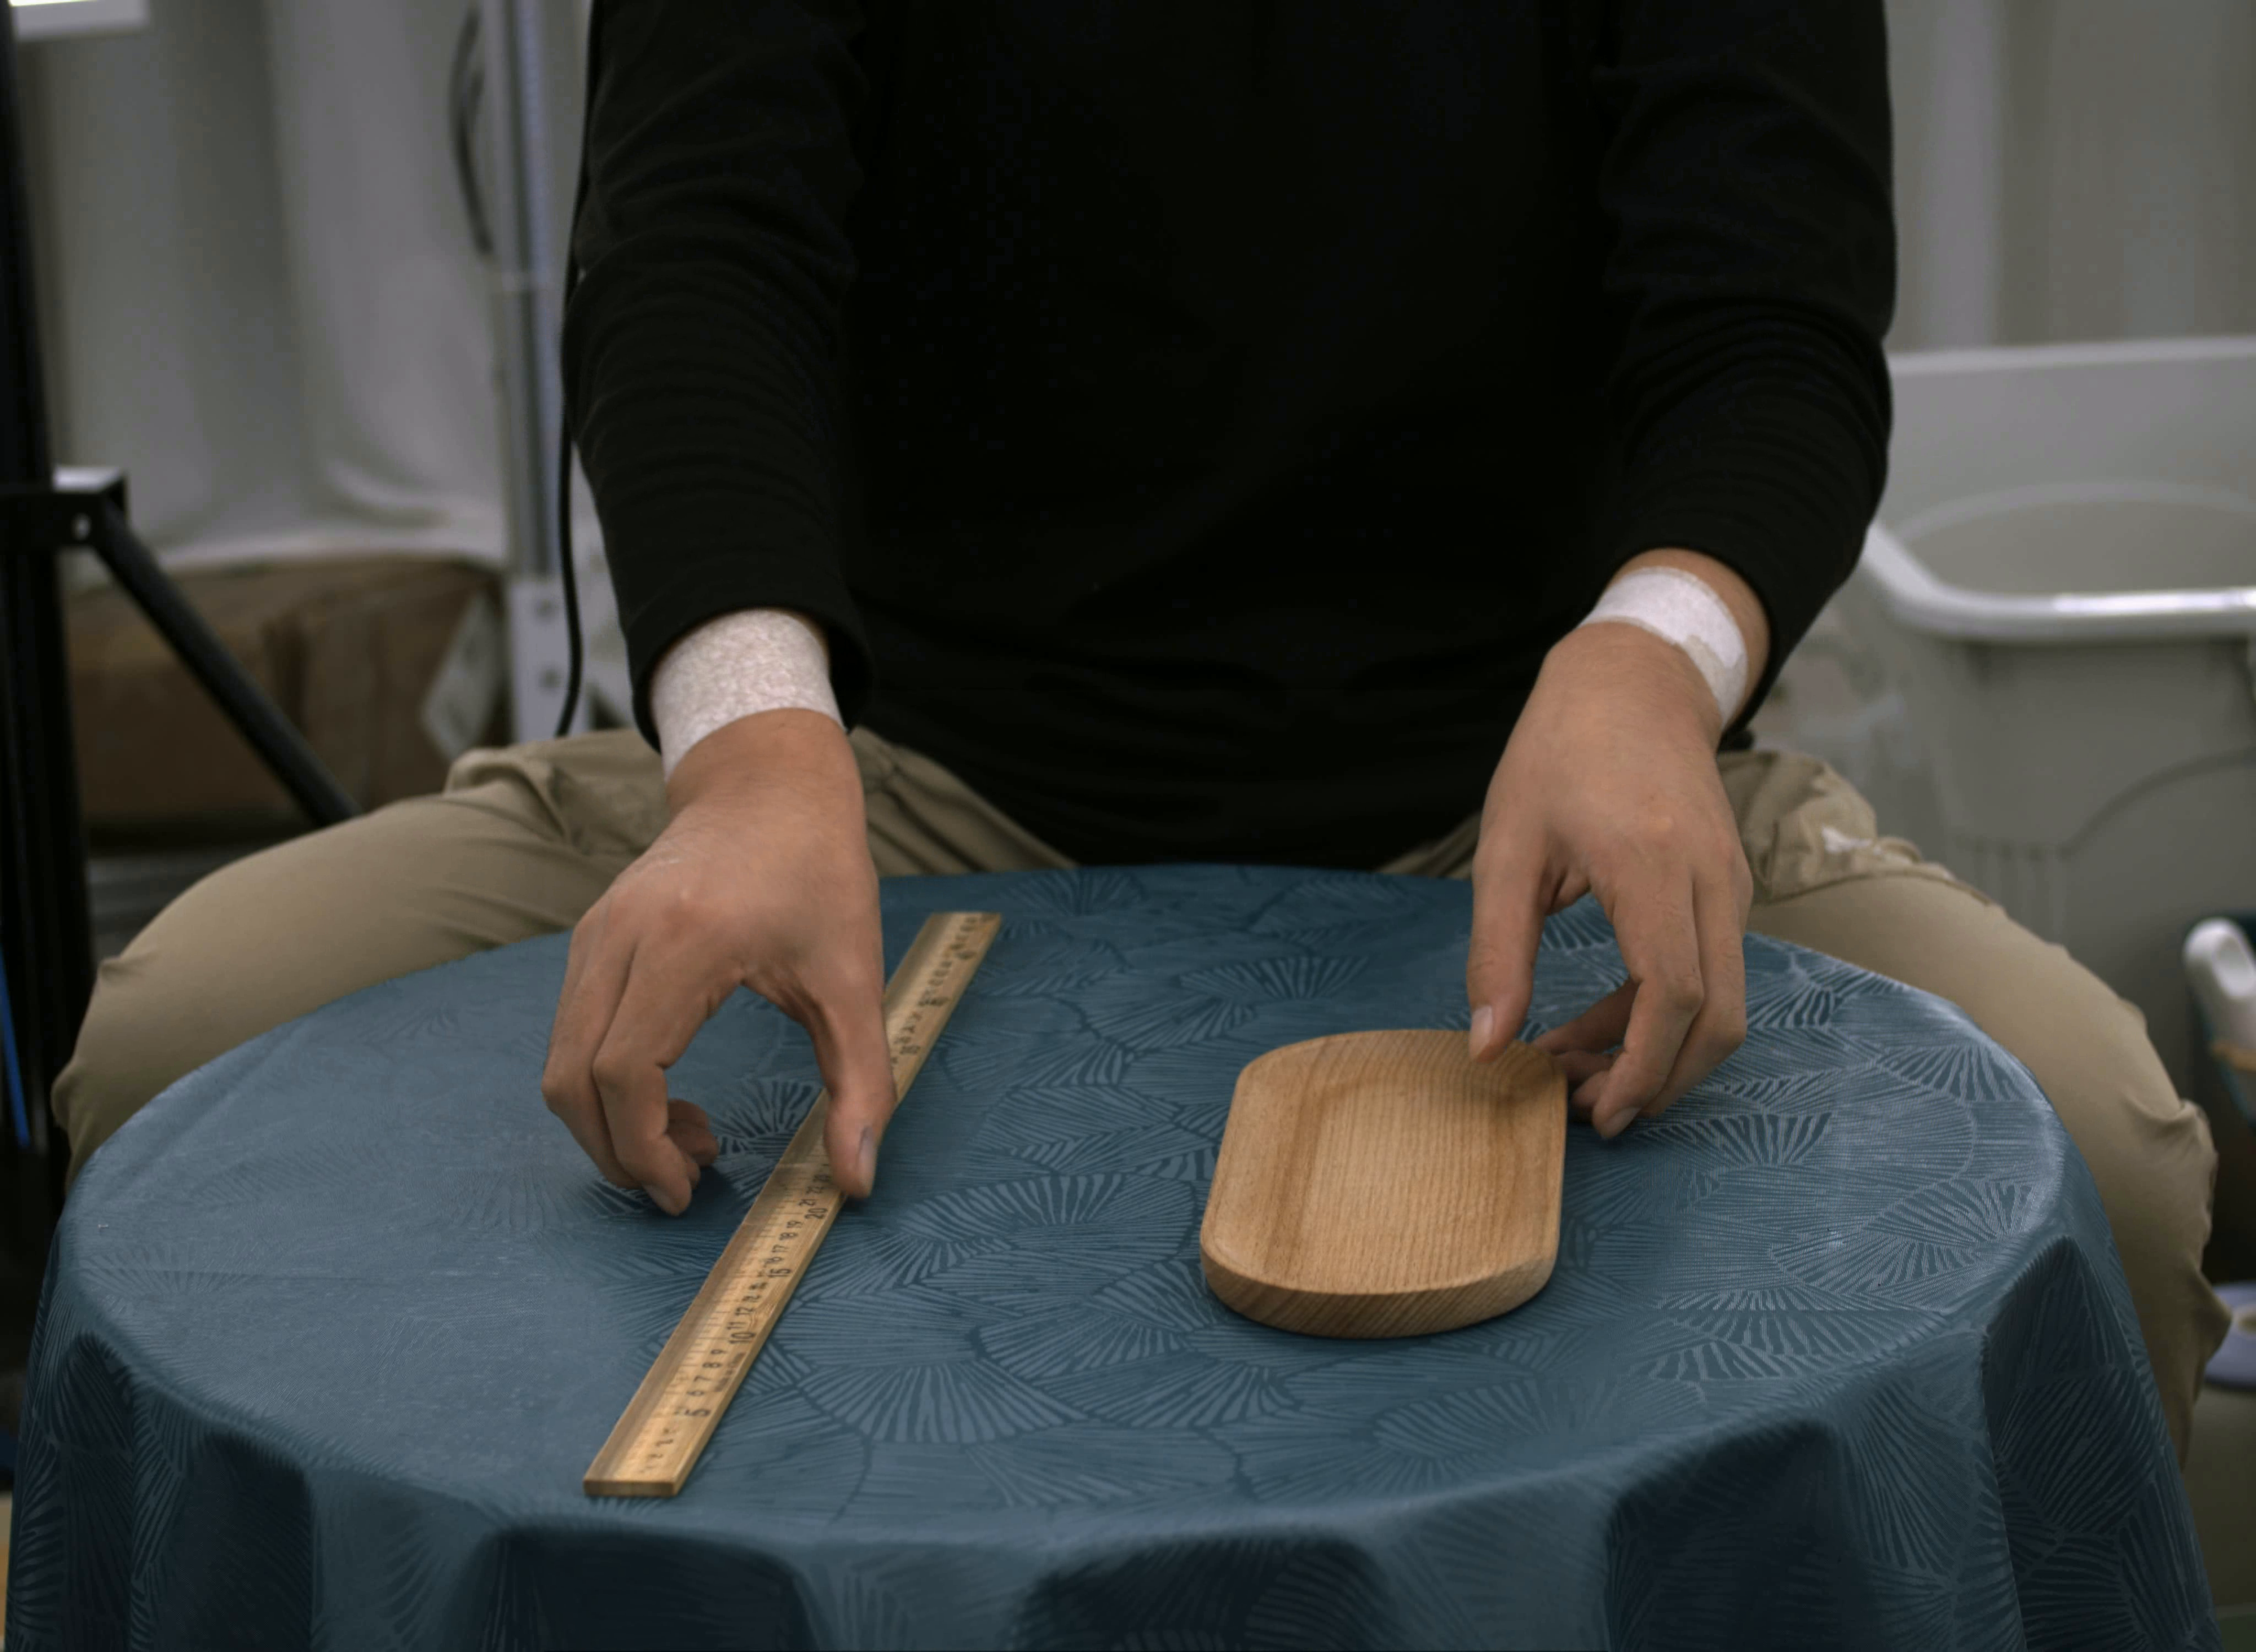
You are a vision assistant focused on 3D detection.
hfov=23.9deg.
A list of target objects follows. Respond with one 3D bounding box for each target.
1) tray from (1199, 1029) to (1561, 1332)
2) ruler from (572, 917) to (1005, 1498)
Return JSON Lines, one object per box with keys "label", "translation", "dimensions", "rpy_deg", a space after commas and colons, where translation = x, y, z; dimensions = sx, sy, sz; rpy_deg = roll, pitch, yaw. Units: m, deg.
{"label": "tray", "translation": [0.074, 0.101, 1.541], "dimensions": [0.101, 0.020, 0.231], "rpy_deg": [0, 14, 4]}
{"label": "ruler", "translation": [-0.091, 0.101, 1.588], "dimensions": [0.027, 0.006, 0.498], "rpy_deg": [3, 16, 8]}
